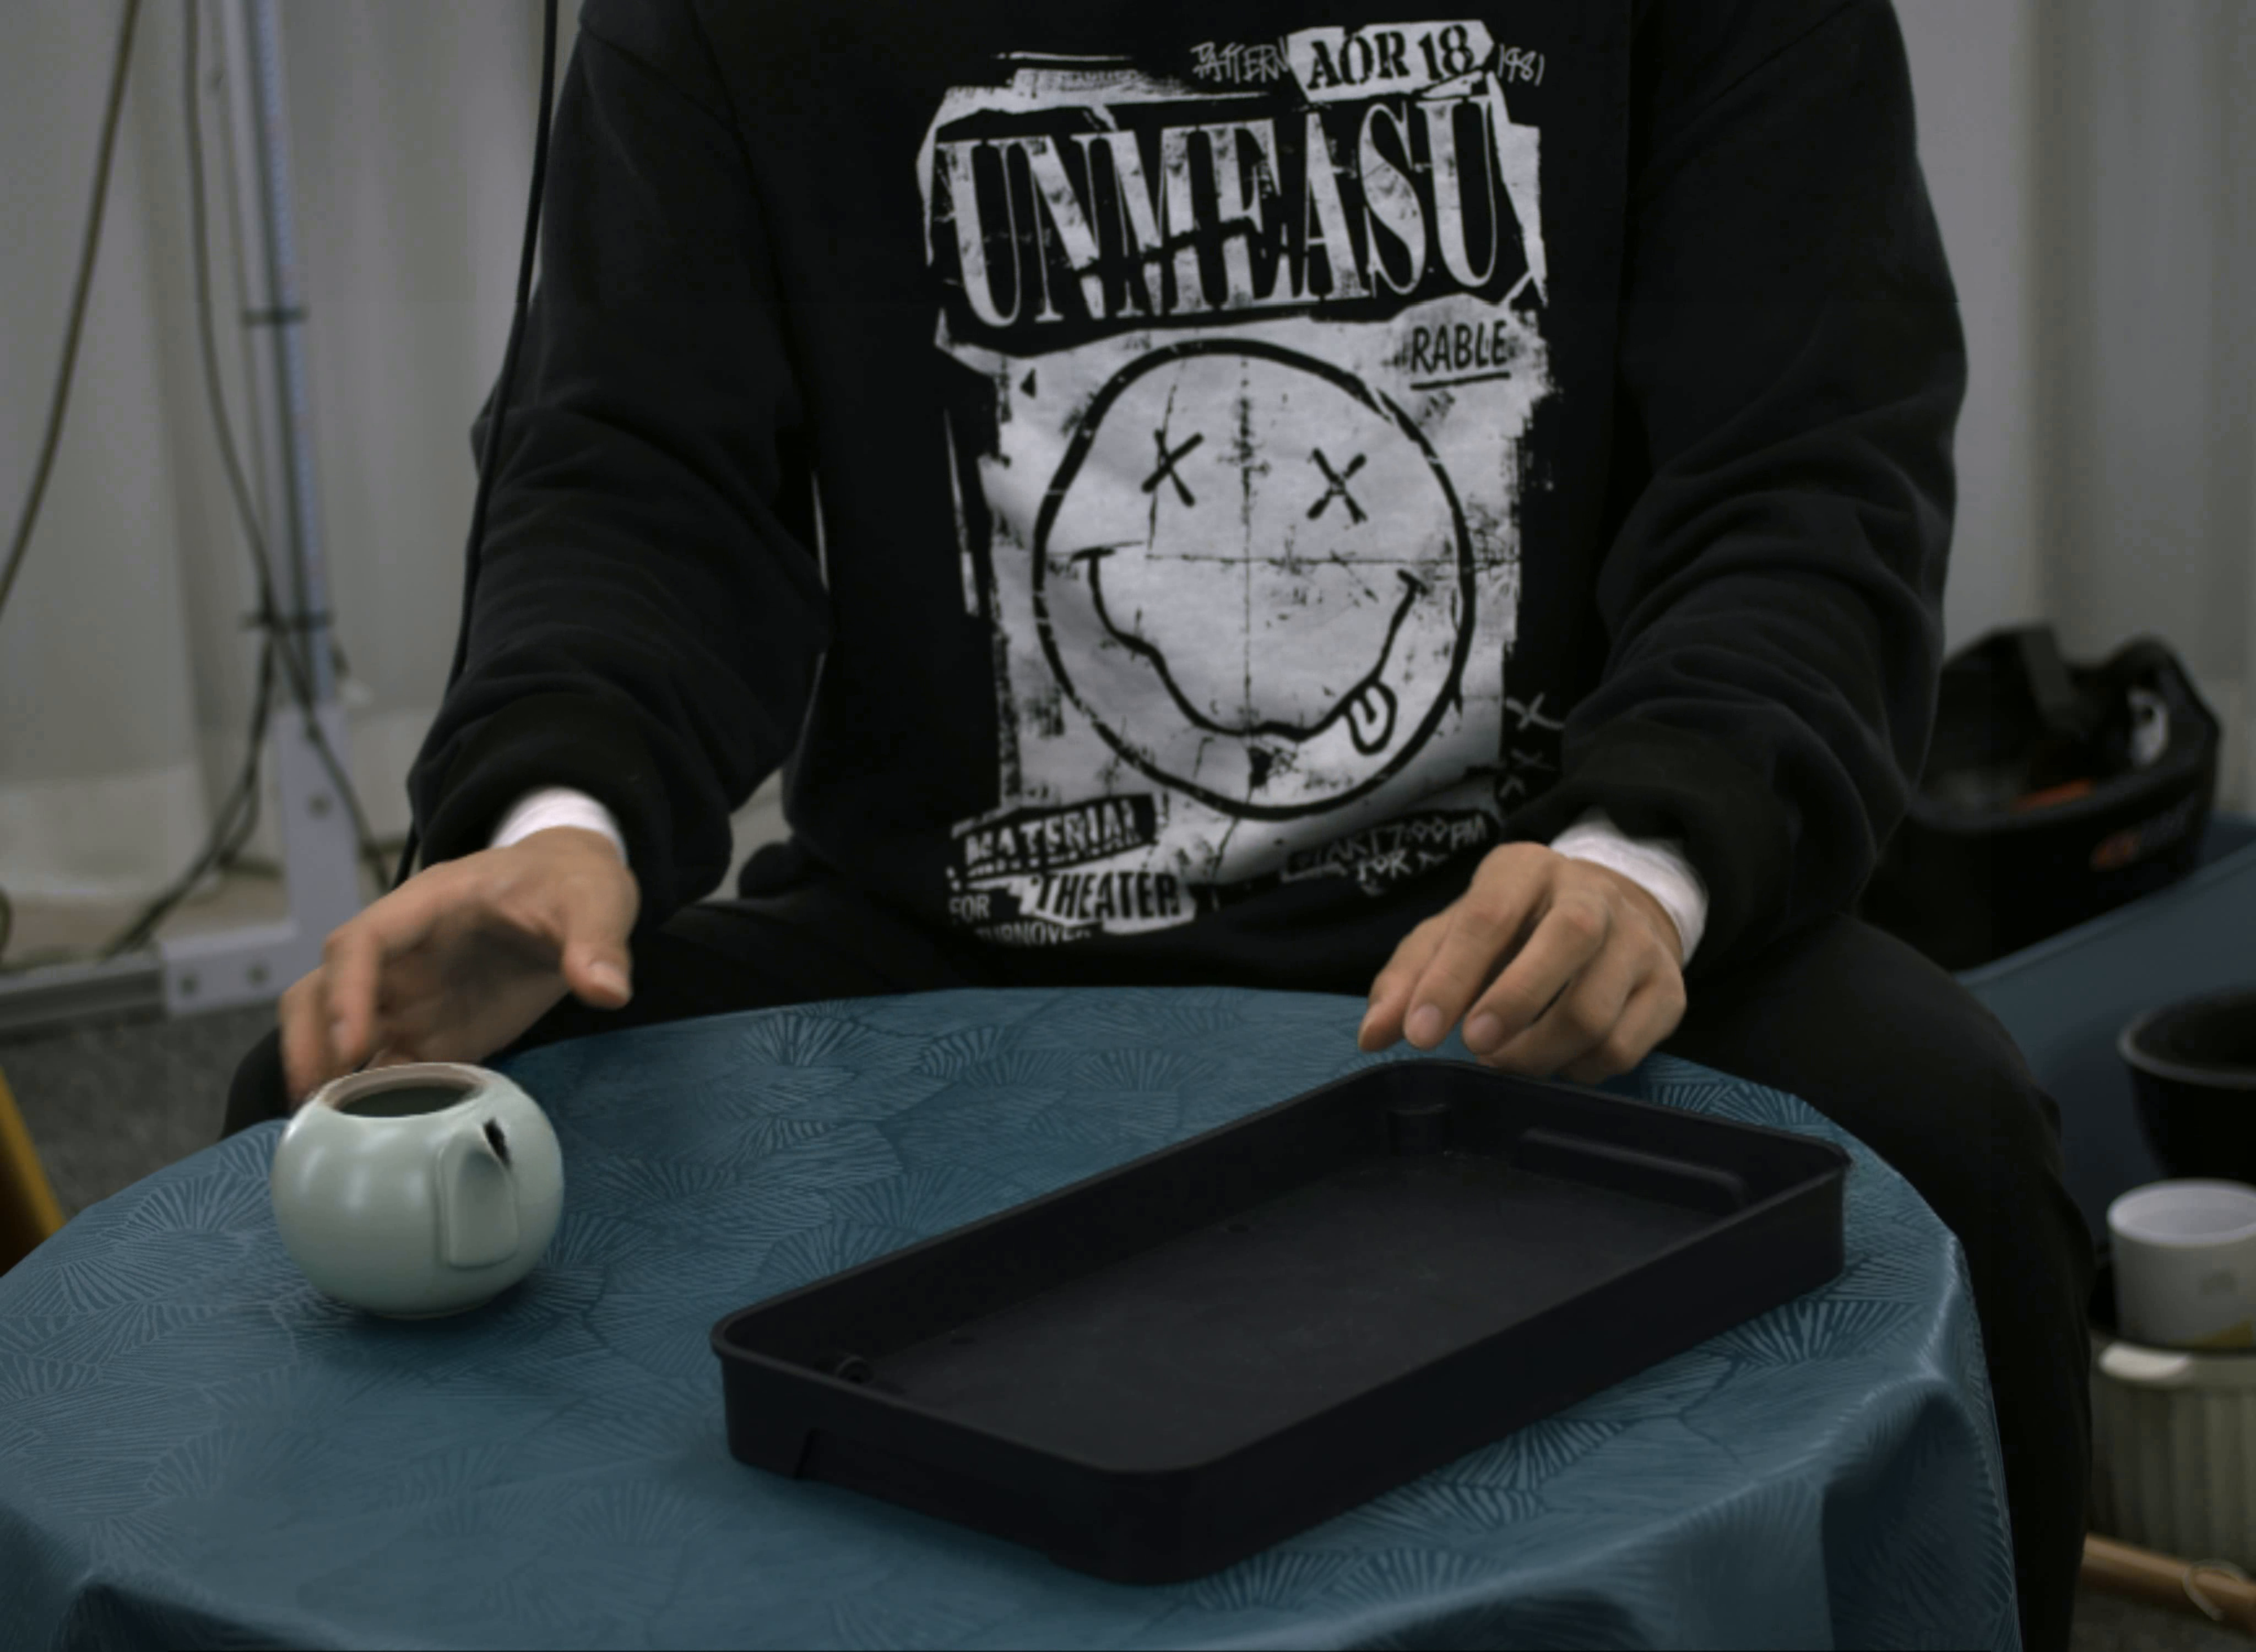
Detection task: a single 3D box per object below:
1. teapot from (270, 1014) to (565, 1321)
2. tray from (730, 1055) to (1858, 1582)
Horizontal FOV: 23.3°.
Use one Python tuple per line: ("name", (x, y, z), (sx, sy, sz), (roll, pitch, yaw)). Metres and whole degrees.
("teapot", (-0.213, 0.107, 1.643), (0.088, 0.074, 0.145), (-10, 18, -27))
("tray", (0.054, 0.134, 1.564), (0.185, 0.037, 0.317), (9, 19, 40))
